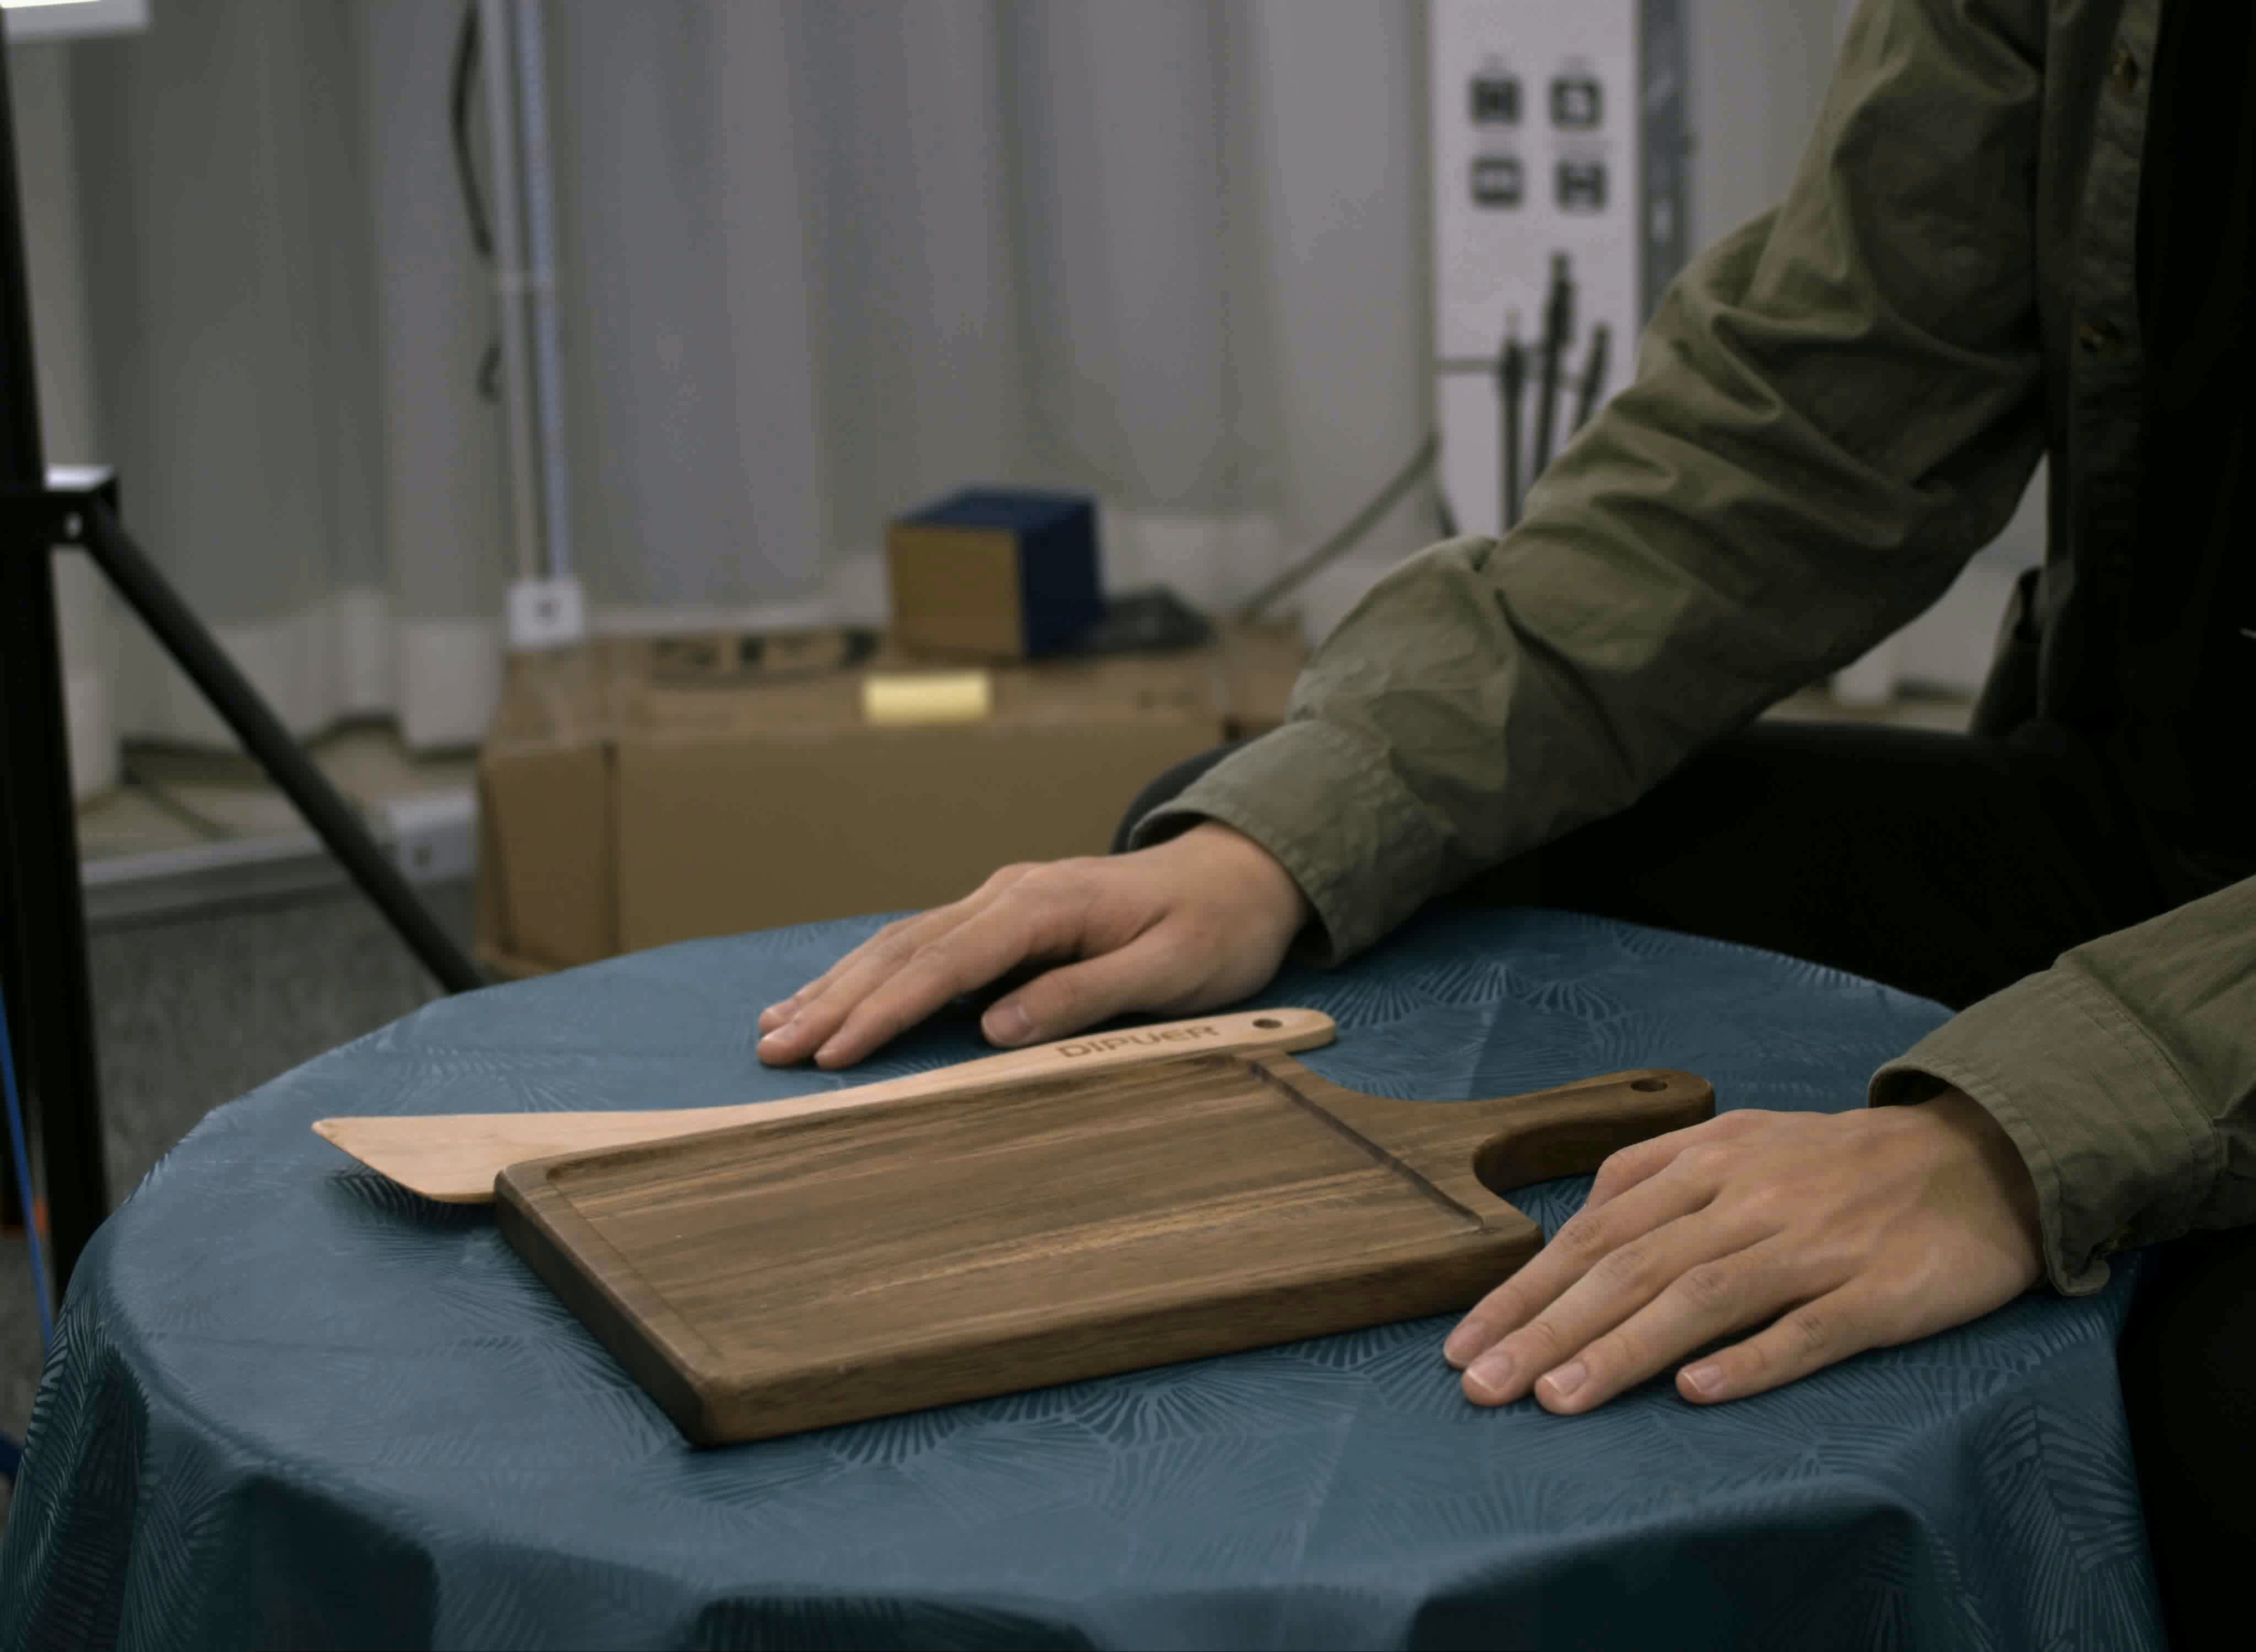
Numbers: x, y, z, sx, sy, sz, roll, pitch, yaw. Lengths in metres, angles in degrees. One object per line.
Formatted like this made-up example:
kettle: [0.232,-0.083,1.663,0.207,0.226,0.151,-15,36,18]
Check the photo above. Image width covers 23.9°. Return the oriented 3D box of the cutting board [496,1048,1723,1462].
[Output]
cutting board: [0.013,0.110,1.514,0.346,0.023,0.204,-8,17,-19]

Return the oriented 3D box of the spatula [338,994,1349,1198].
spatula: [-0.077,0.079,1.642,0.321,0.016,0.081,-10,18,-22]
